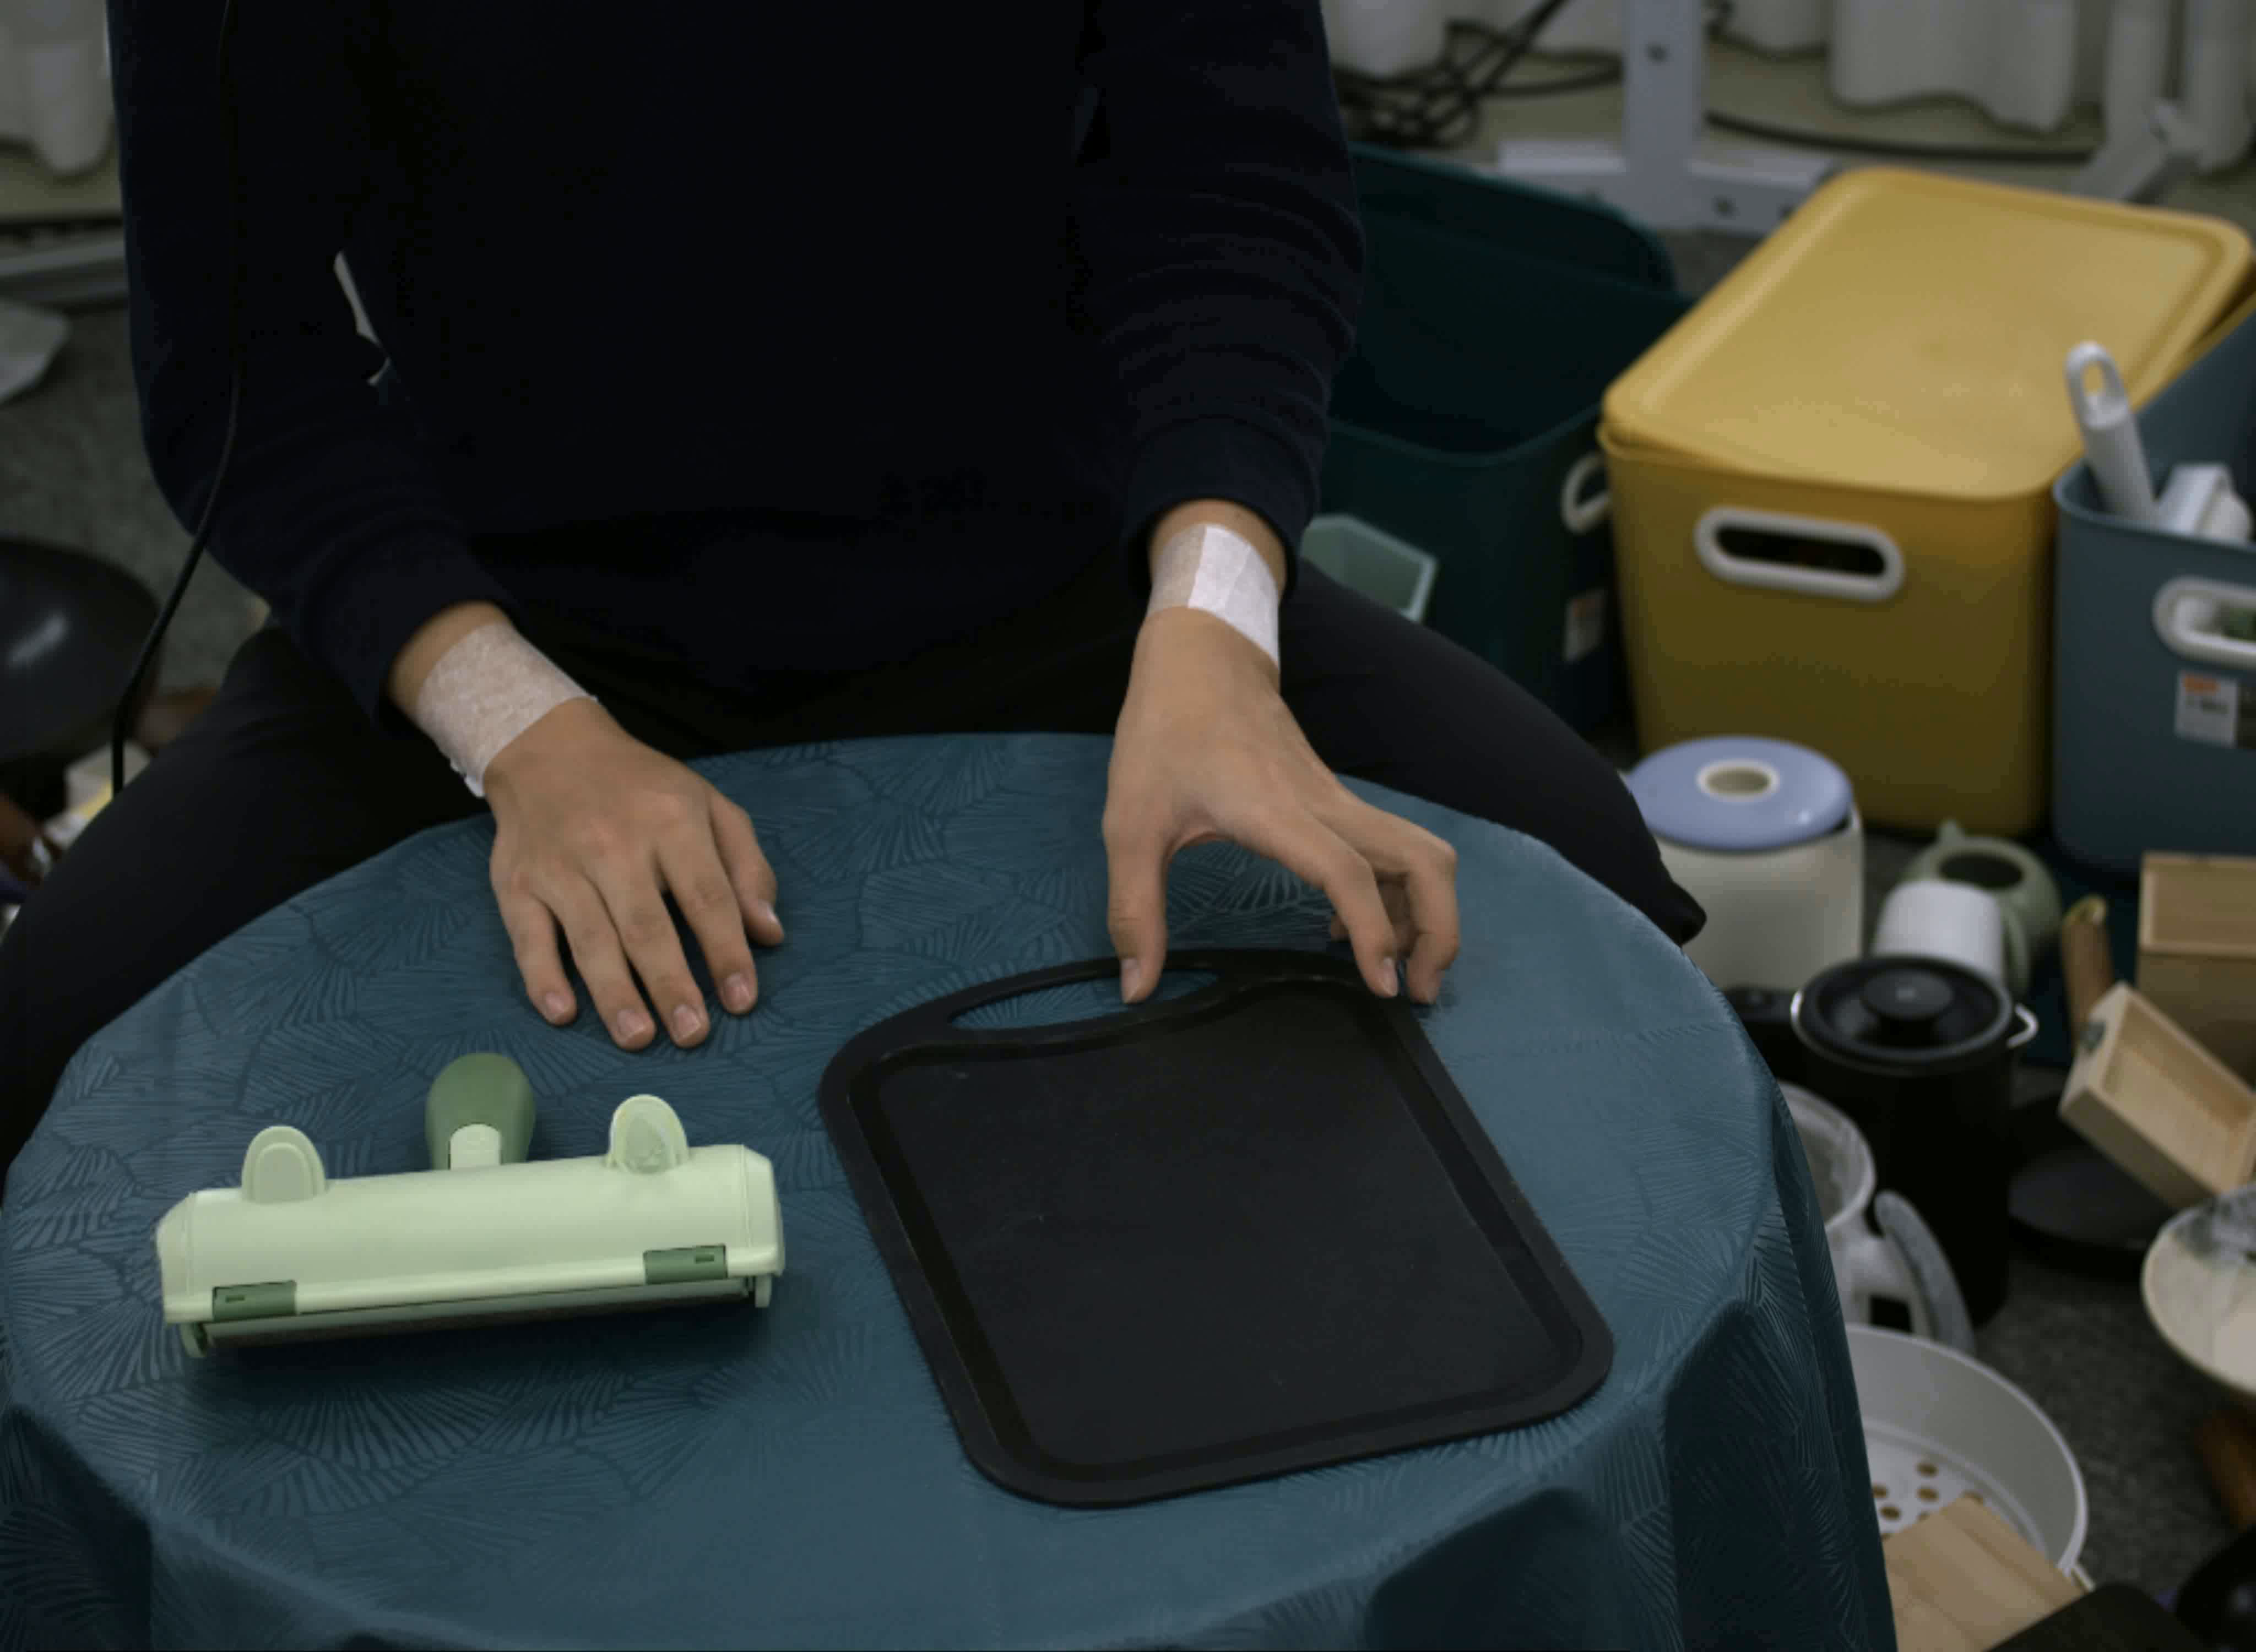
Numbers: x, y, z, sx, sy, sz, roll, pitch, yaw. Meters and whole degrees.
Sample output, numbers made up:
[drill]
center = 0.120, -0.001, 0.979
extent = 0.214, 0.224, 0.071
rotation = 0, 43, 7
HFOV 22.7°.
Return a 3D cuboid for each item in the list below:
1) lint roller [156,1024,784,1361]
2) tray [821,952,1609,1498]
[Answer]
[lint roller]
center = -0.216, 0.099, 1.836
extent = 0.198, 0.081, 0.186
rotation = -4, 34, -5
[tray]
center = 0.019, 0.121, 1.854
extent = 0.211, 0.009, 0.329
rotation = -9, 28, -12
